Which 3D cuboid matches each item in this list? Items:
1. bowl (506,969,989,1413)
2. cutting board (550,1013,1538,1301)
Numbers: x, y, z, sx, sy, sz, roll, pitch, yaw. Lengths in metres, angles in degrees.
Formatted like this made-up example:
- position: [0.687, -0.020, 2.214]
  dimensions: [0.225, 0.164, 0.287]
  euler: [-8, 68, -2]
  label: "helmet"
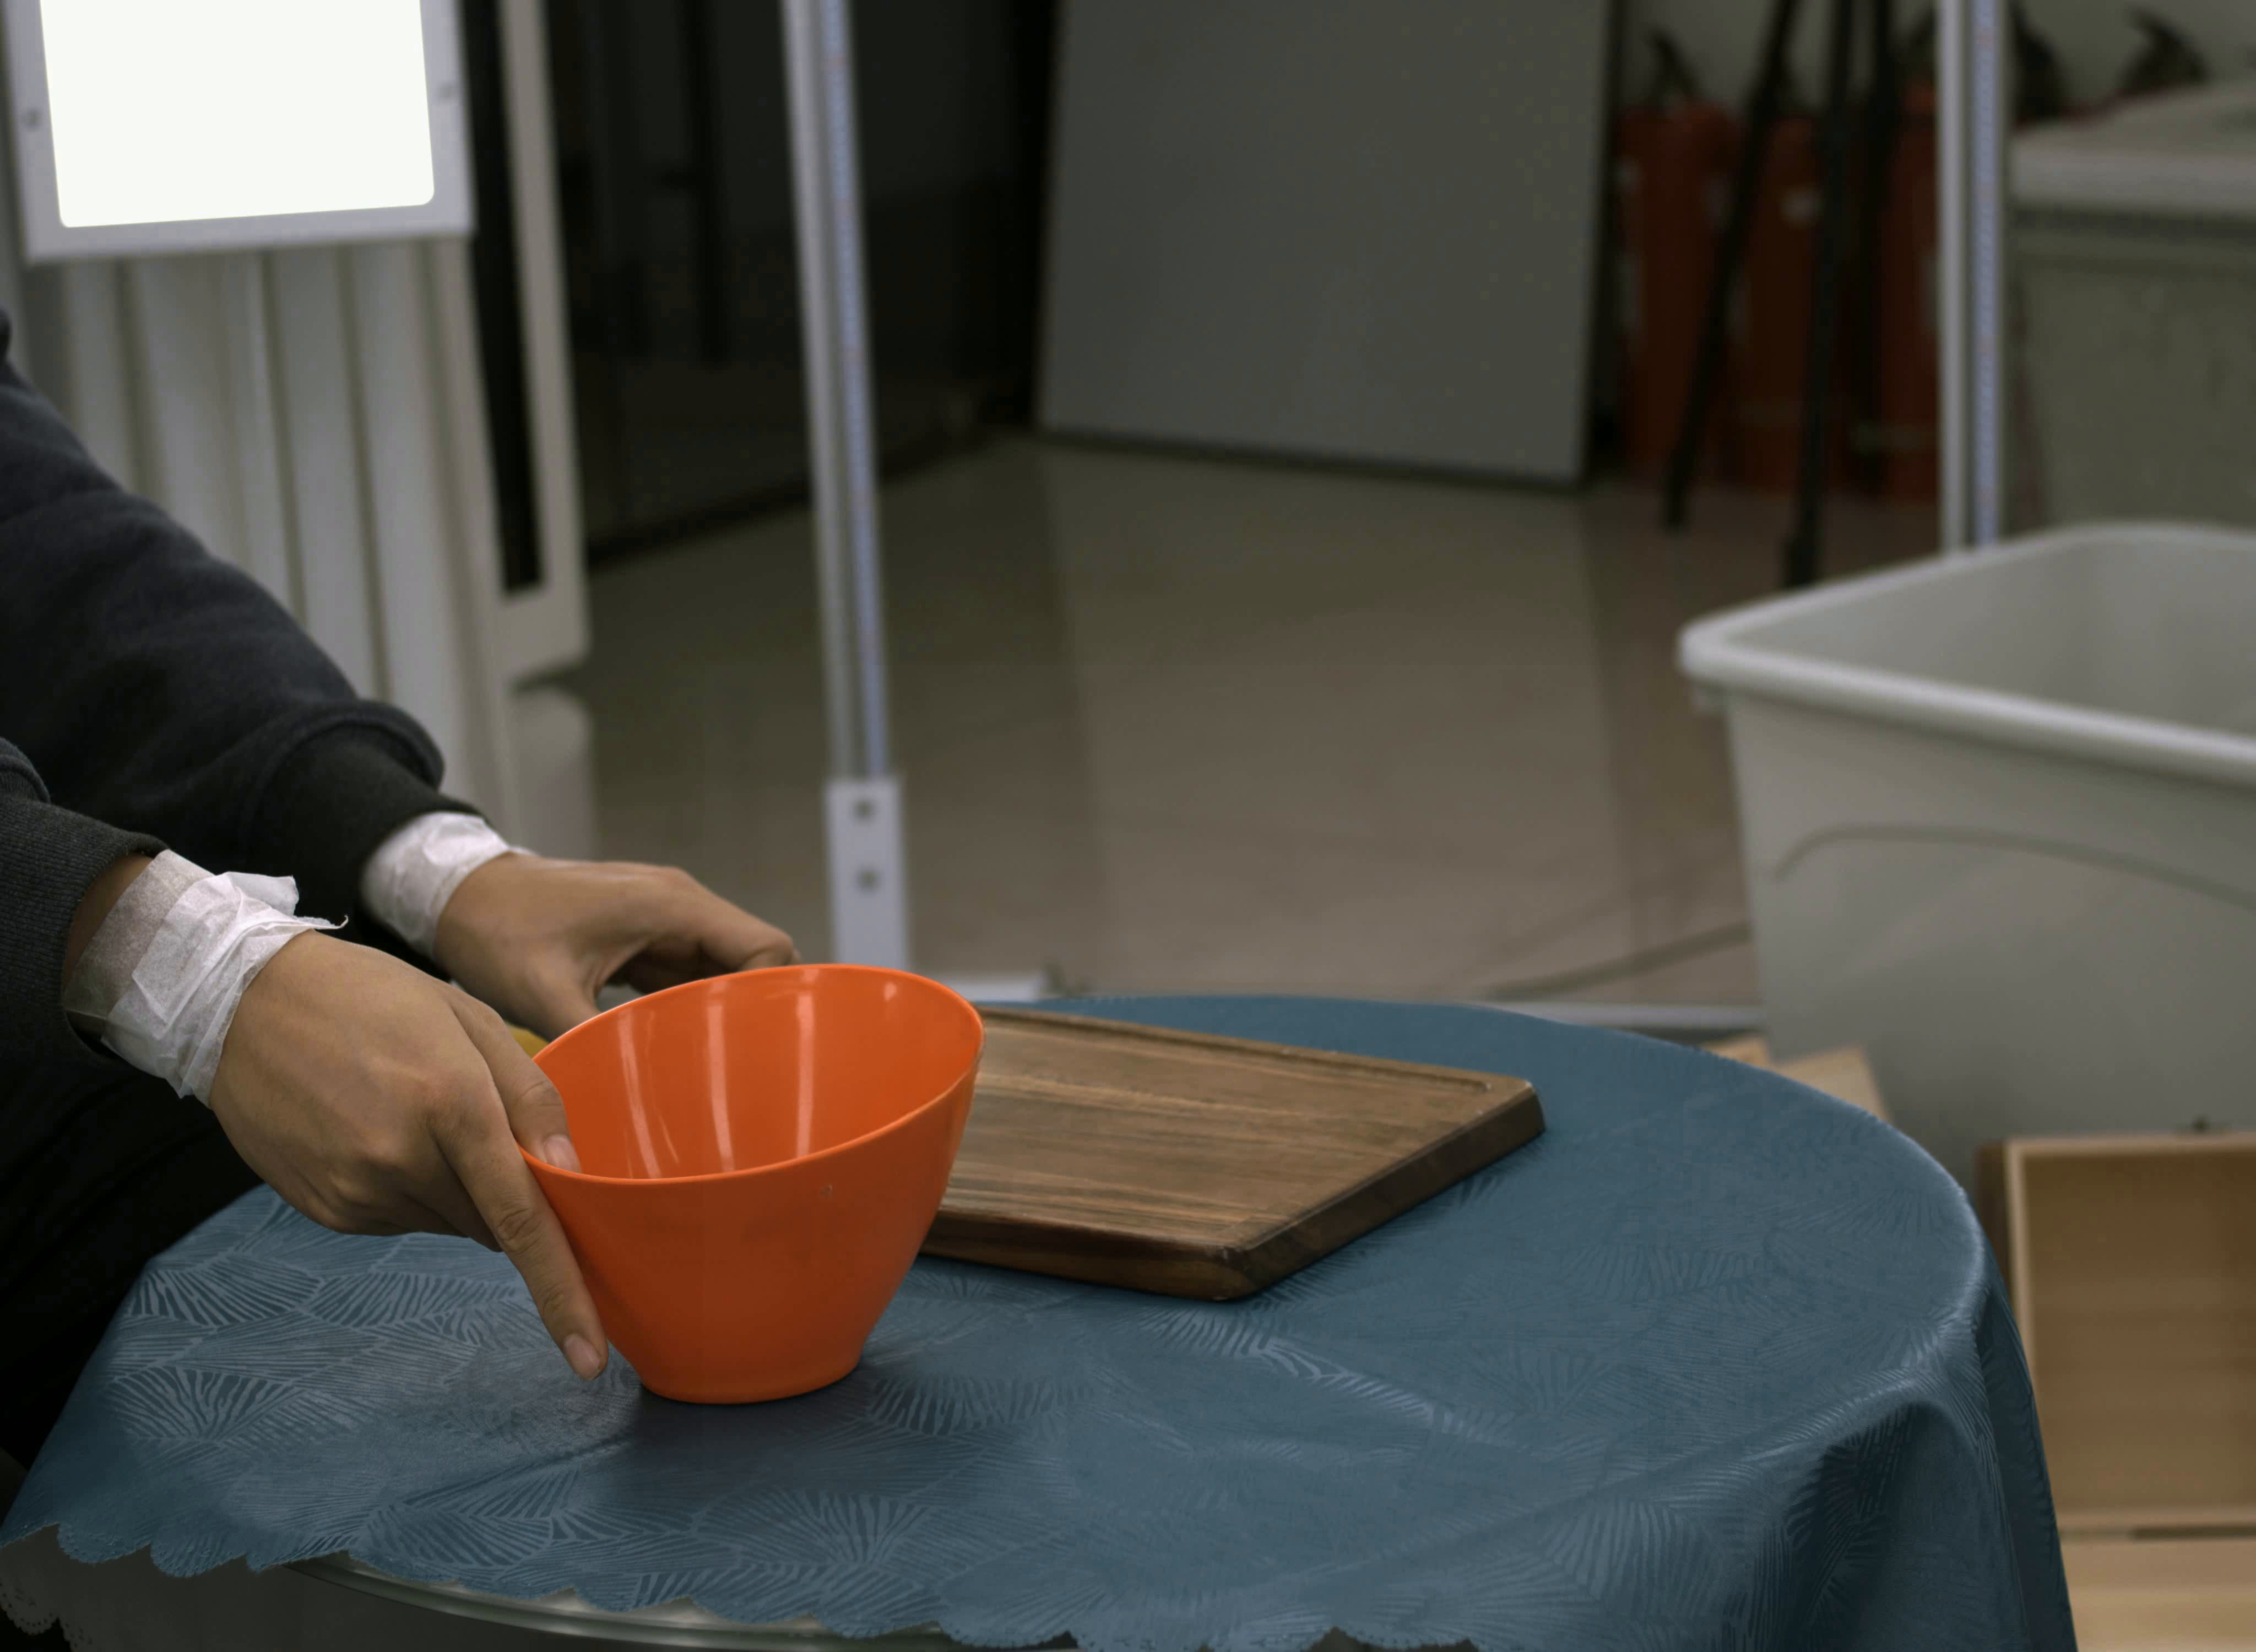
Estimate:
- position: [-0.110, 0.113, 1.621]
  dimensions: [0.146, 0.106, 0.148]
  euler: [-6, 12, 0]
  label: "bowl"
- position: [-0.055, 0.102, 1.822]
  dimensions: [0.354, 0.023, 0.197]
  euler: [6, 16, 35]
  label: "cutting board"
